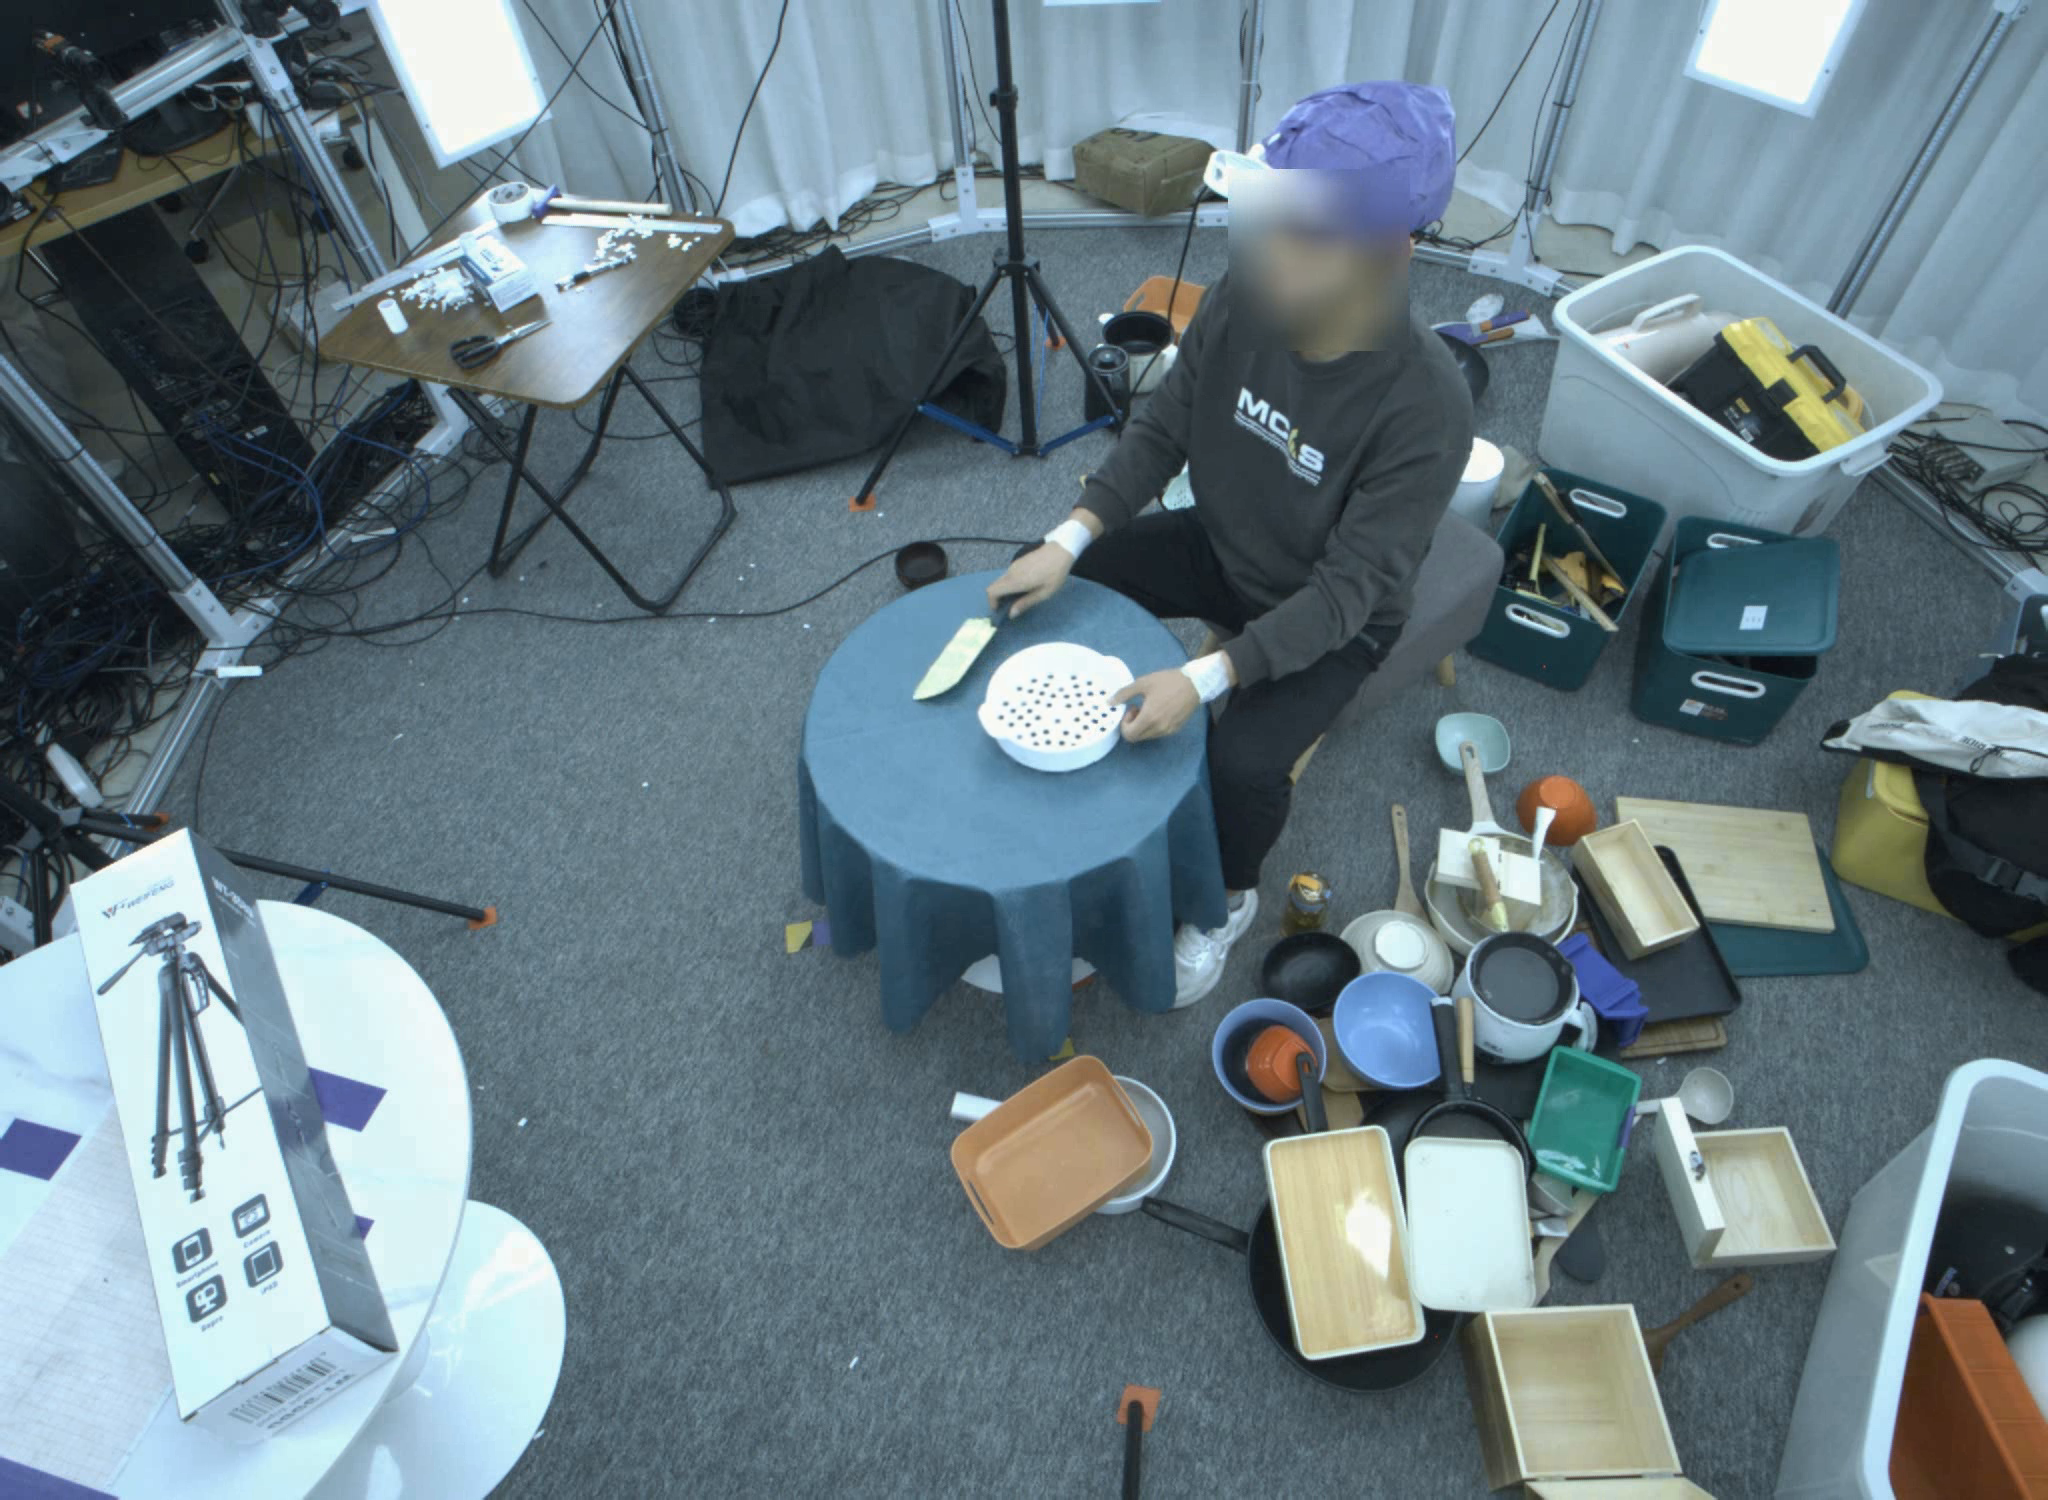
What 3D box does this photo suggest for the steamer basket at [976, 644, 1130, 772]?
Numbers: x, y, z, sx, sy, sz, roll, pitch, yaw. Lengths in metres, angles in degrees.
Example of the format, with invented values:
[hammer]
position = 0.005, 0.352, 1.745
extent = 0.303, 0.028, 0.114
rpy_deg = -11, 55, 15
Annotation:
[steamer basket]
position = 0.043, -0.060, 1.795
extent = 0.232, 0.070, 0.198
rpy_deg = -20, 57, -14

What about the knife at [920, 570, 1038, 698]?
[knife]
position = -0.071, -0.181, 1.902
extent = 0.079, 0.028, 0.290
rpy_deg = 16, 56, 38
